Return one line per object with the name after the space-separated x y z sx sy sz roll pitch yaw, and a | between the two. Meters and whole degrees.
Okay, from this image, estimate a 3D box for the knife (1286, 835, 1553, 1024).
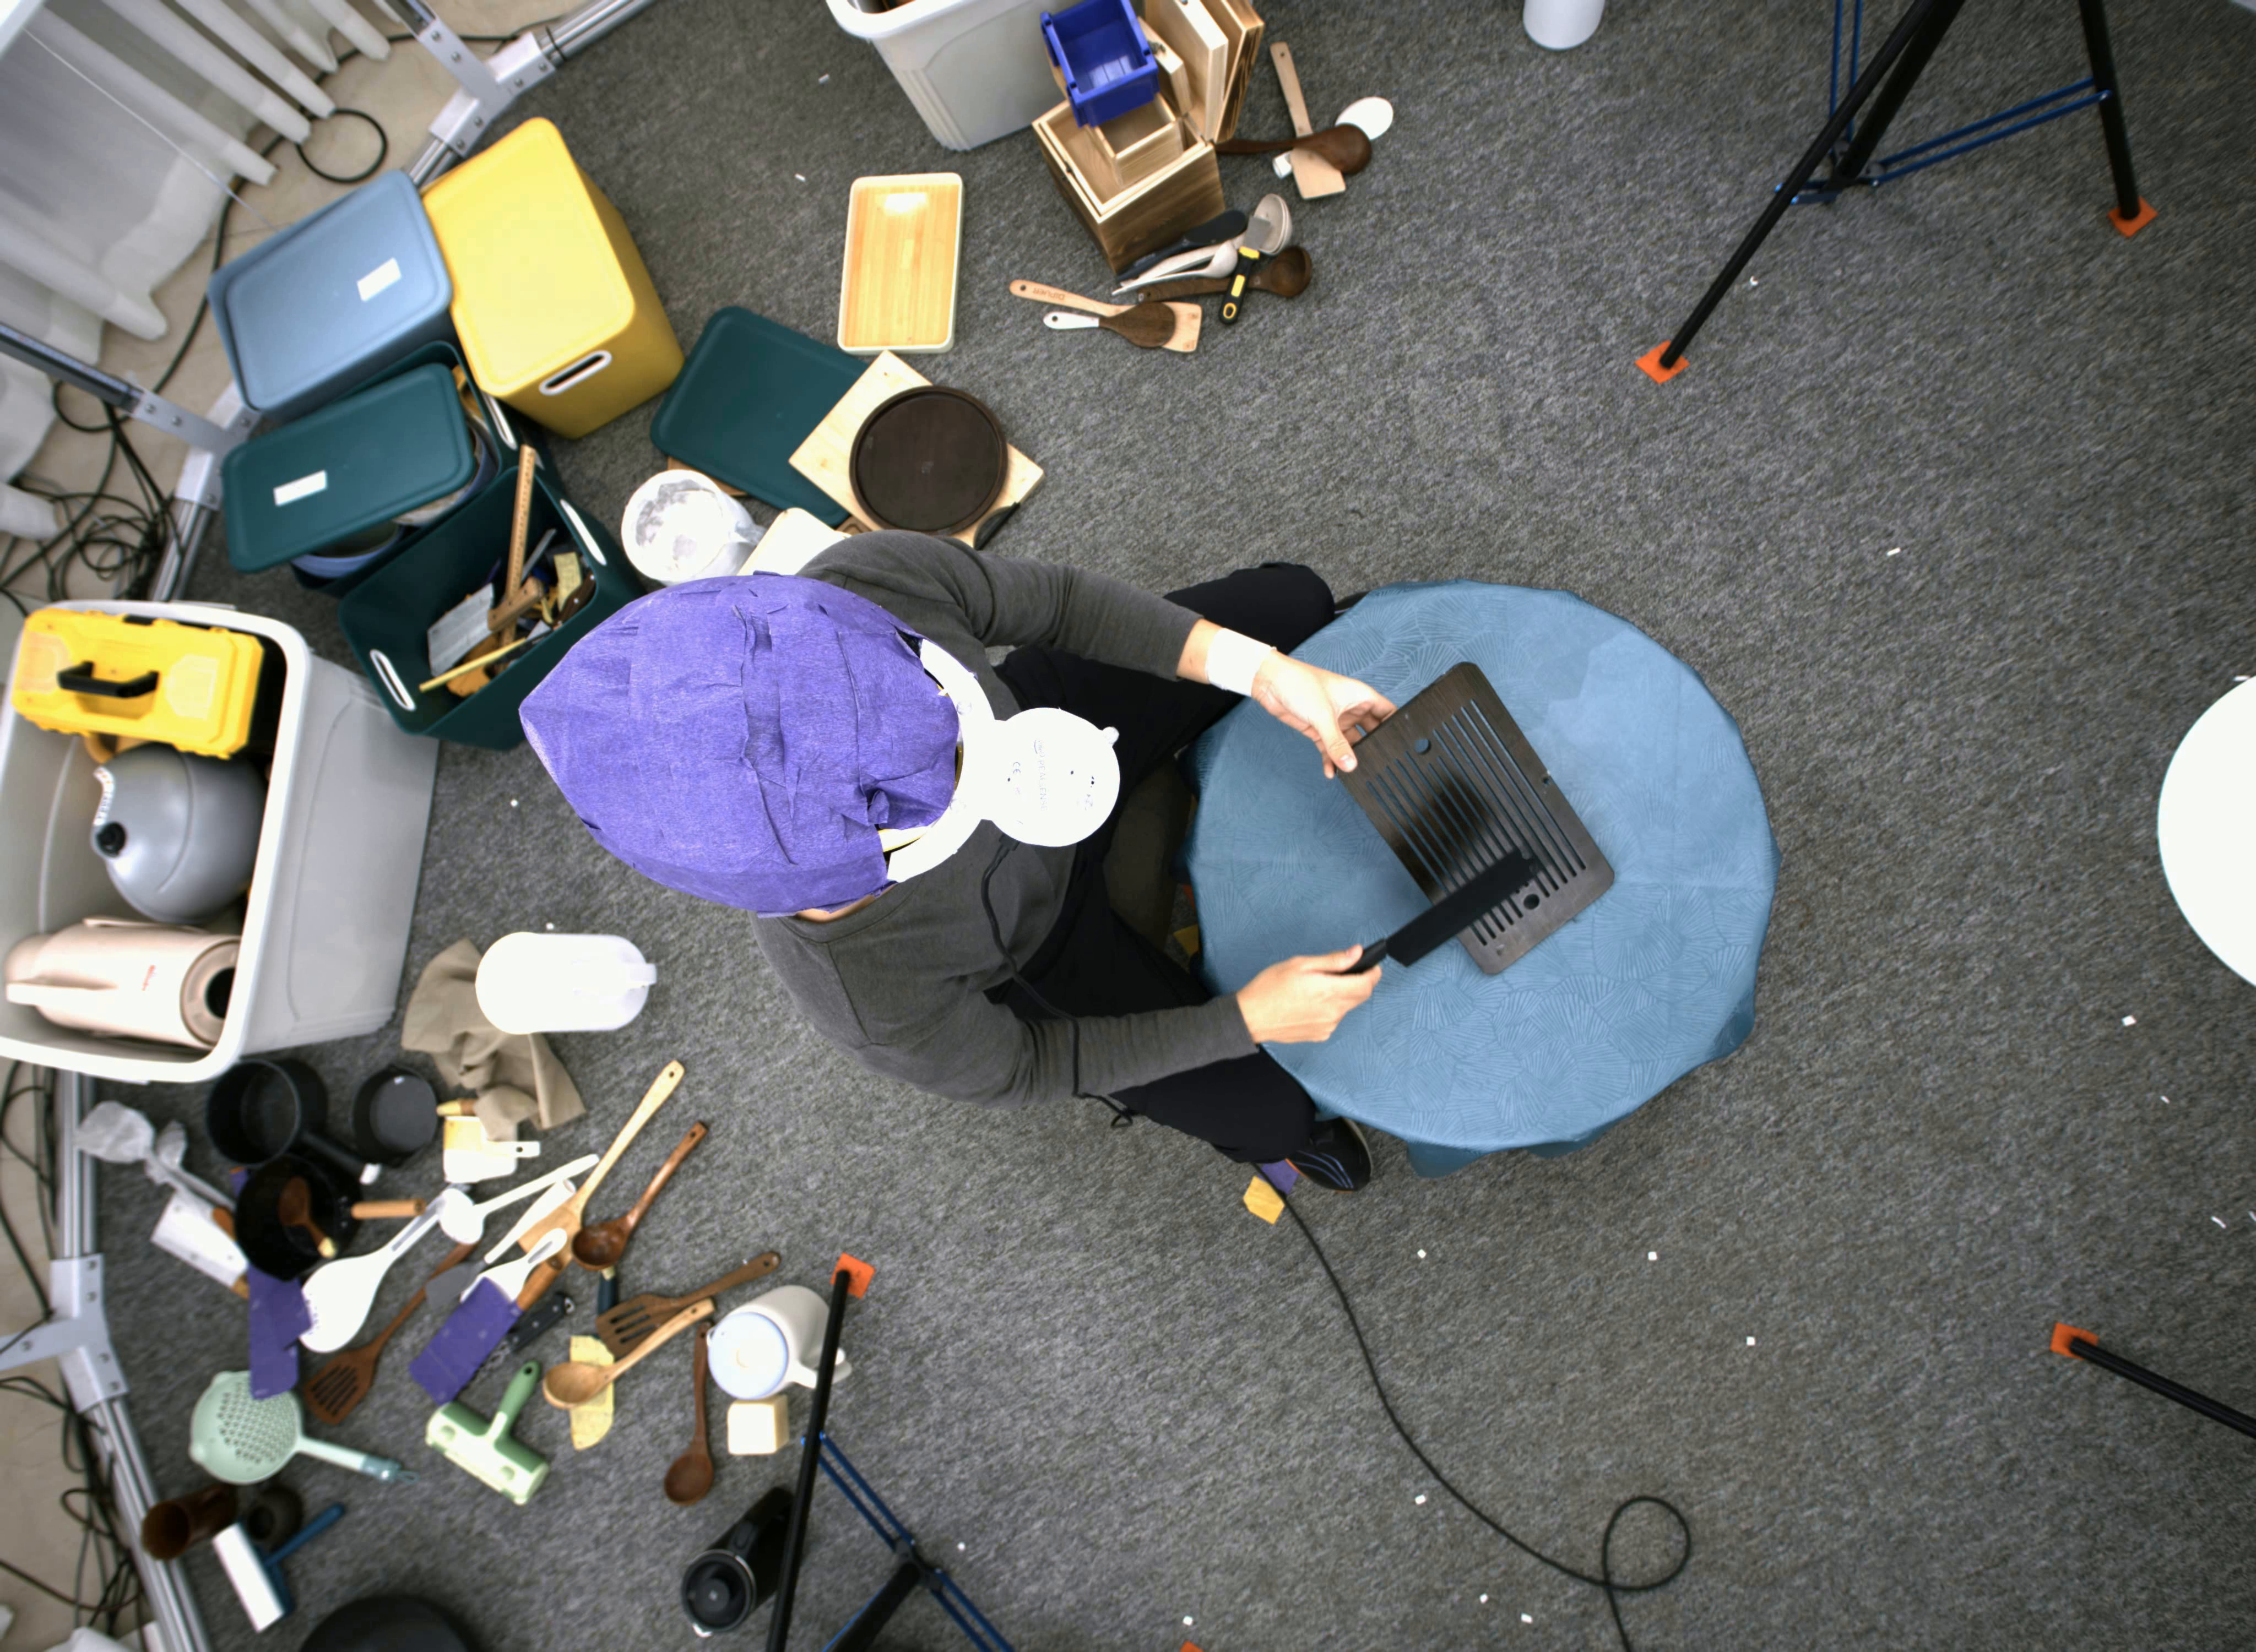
0.278 0.105 1.344 0.306 0.082 0.020 -35 47 16 | knife

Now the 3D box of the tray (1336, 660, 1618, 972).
0.350 -0.007 1.365 0.171 0.018 0.309 -37 113 7 | tray
